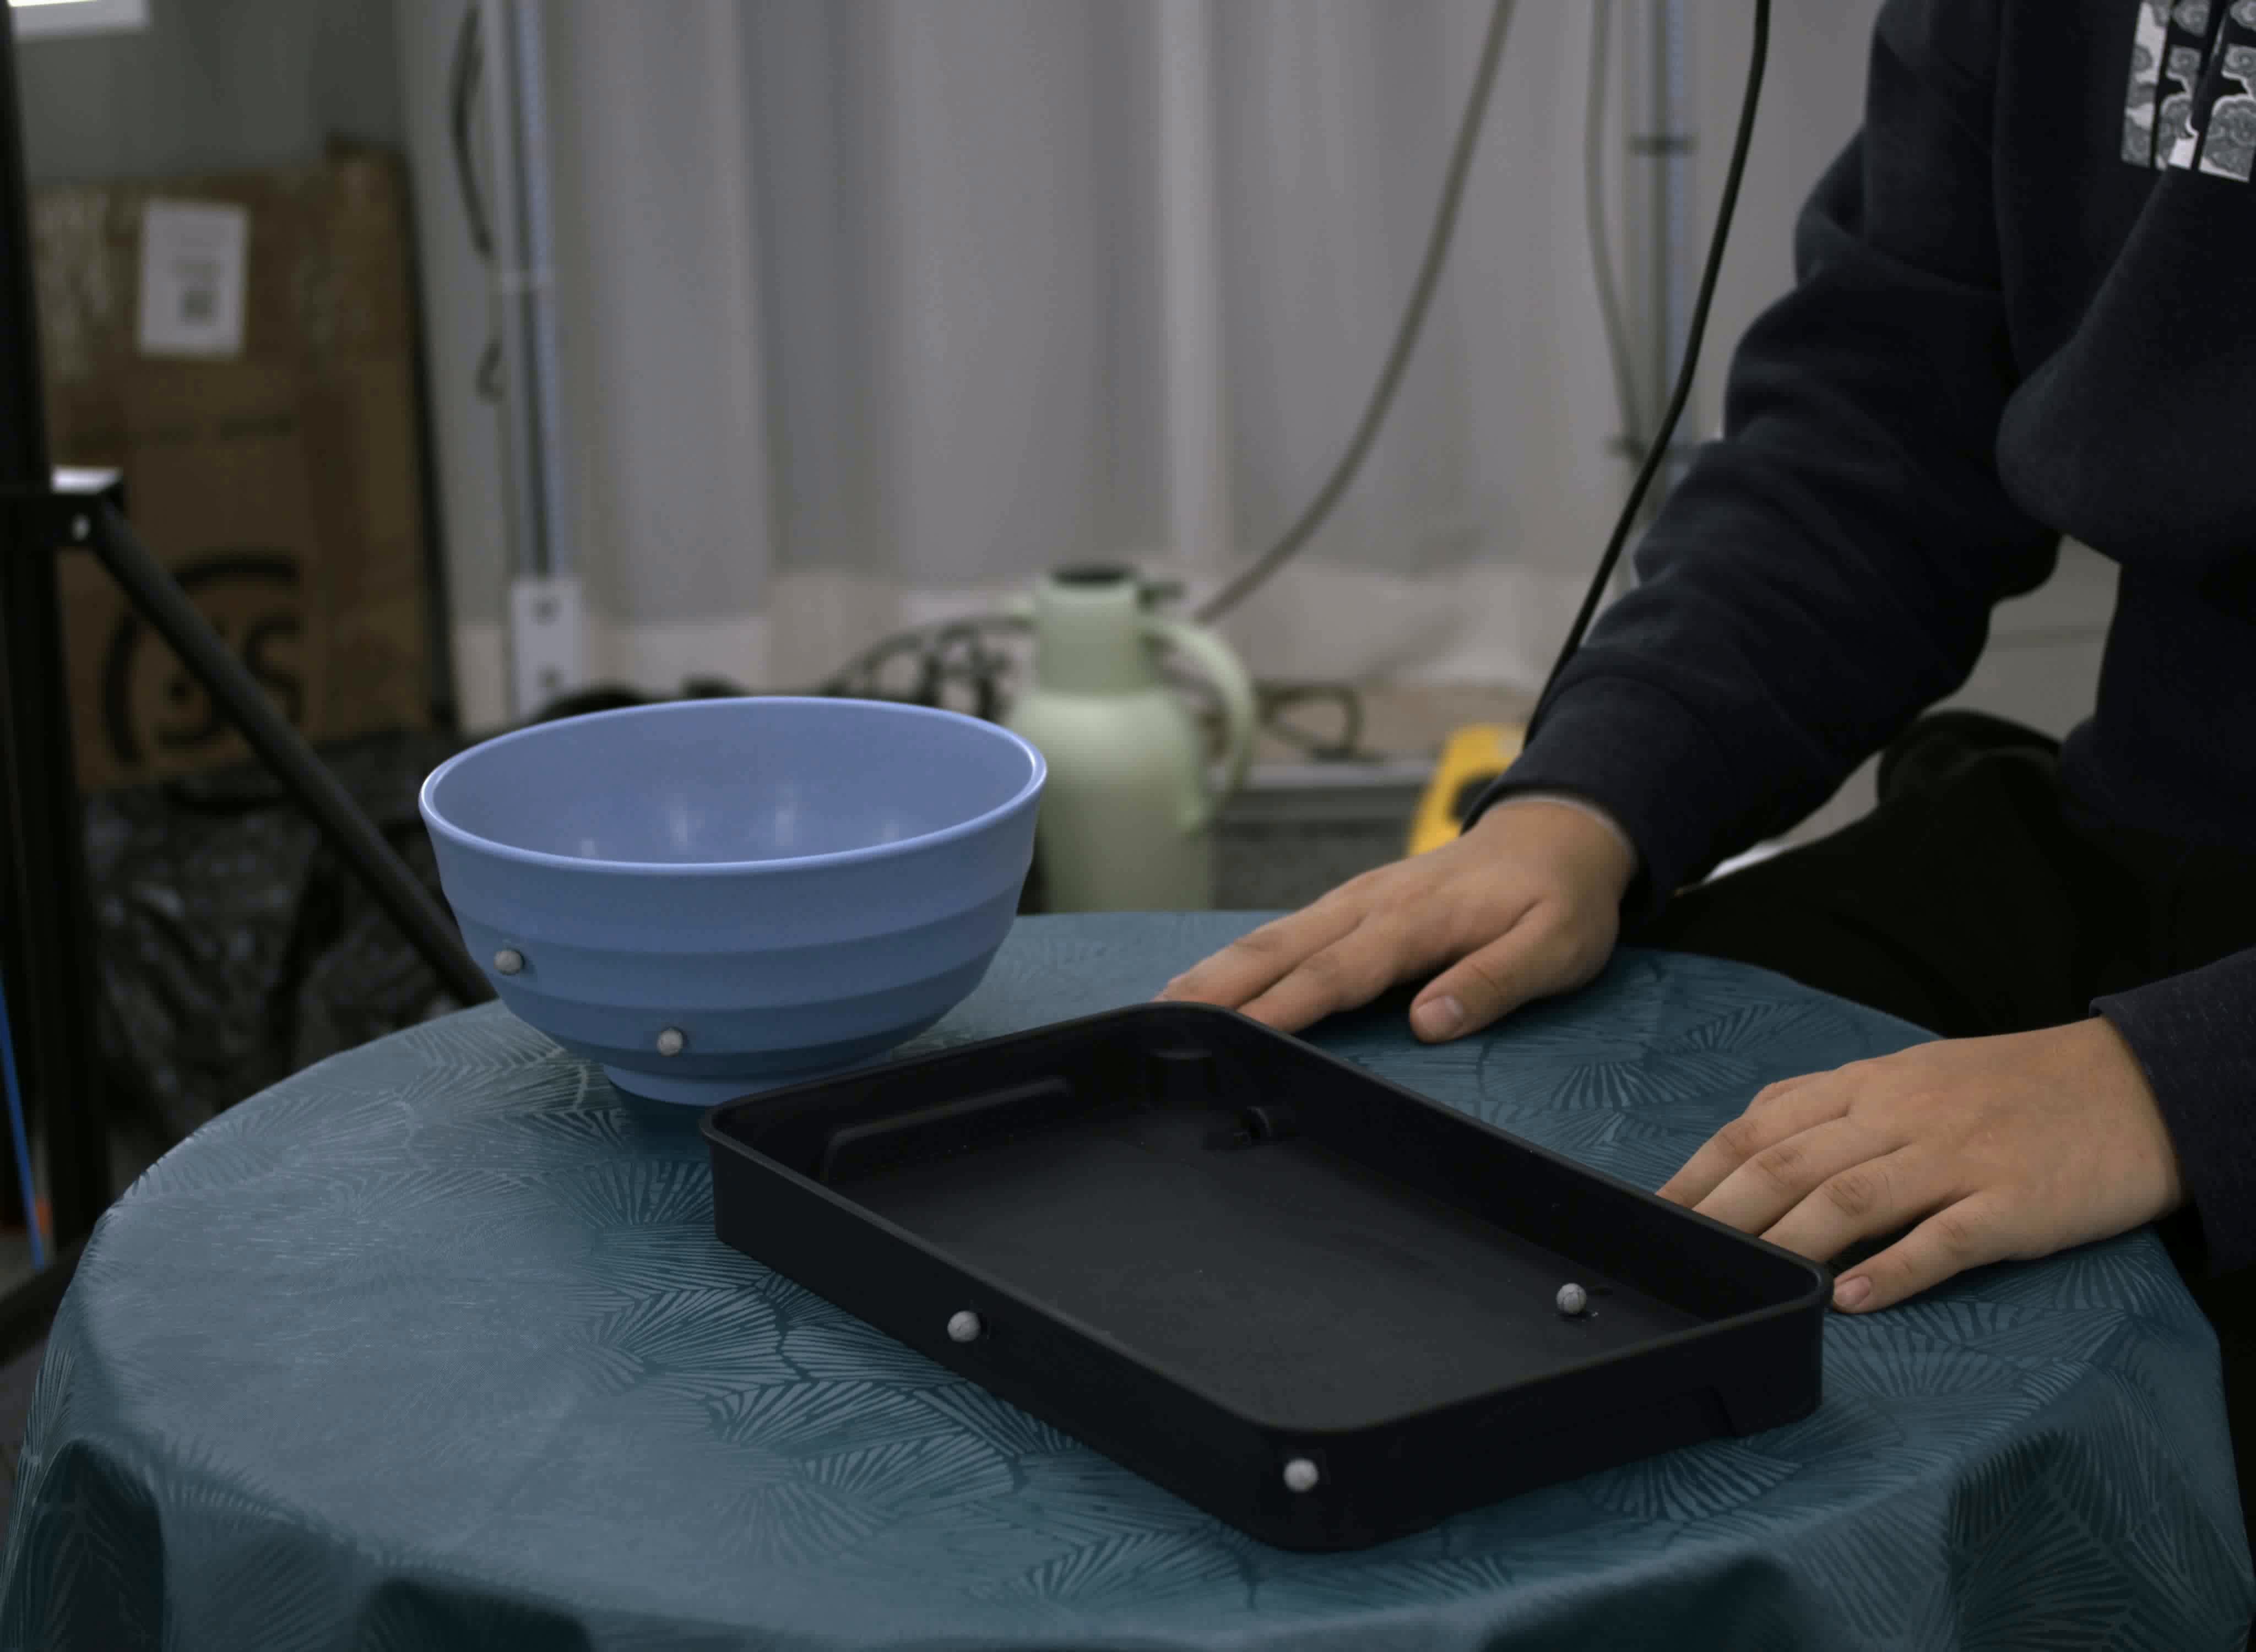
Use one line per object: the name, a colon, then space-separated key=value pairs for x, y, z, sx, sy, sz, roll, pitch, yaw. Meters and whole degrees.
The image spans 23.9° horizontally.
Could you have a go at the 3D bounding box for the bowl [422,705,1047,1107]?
bowl: x=-0.121 y=0.030 z=1.679 sx=0.195 sy=0.095 sz=0.197 roll=-3 pitch=15 yaw=-1

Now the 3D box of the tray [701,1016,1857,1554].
tray: x=0.034 y=0.119 z=1.453 sx=0.180 sy=0.037 sz=0.325 roll=-12 pitch=17 yaw=-32
